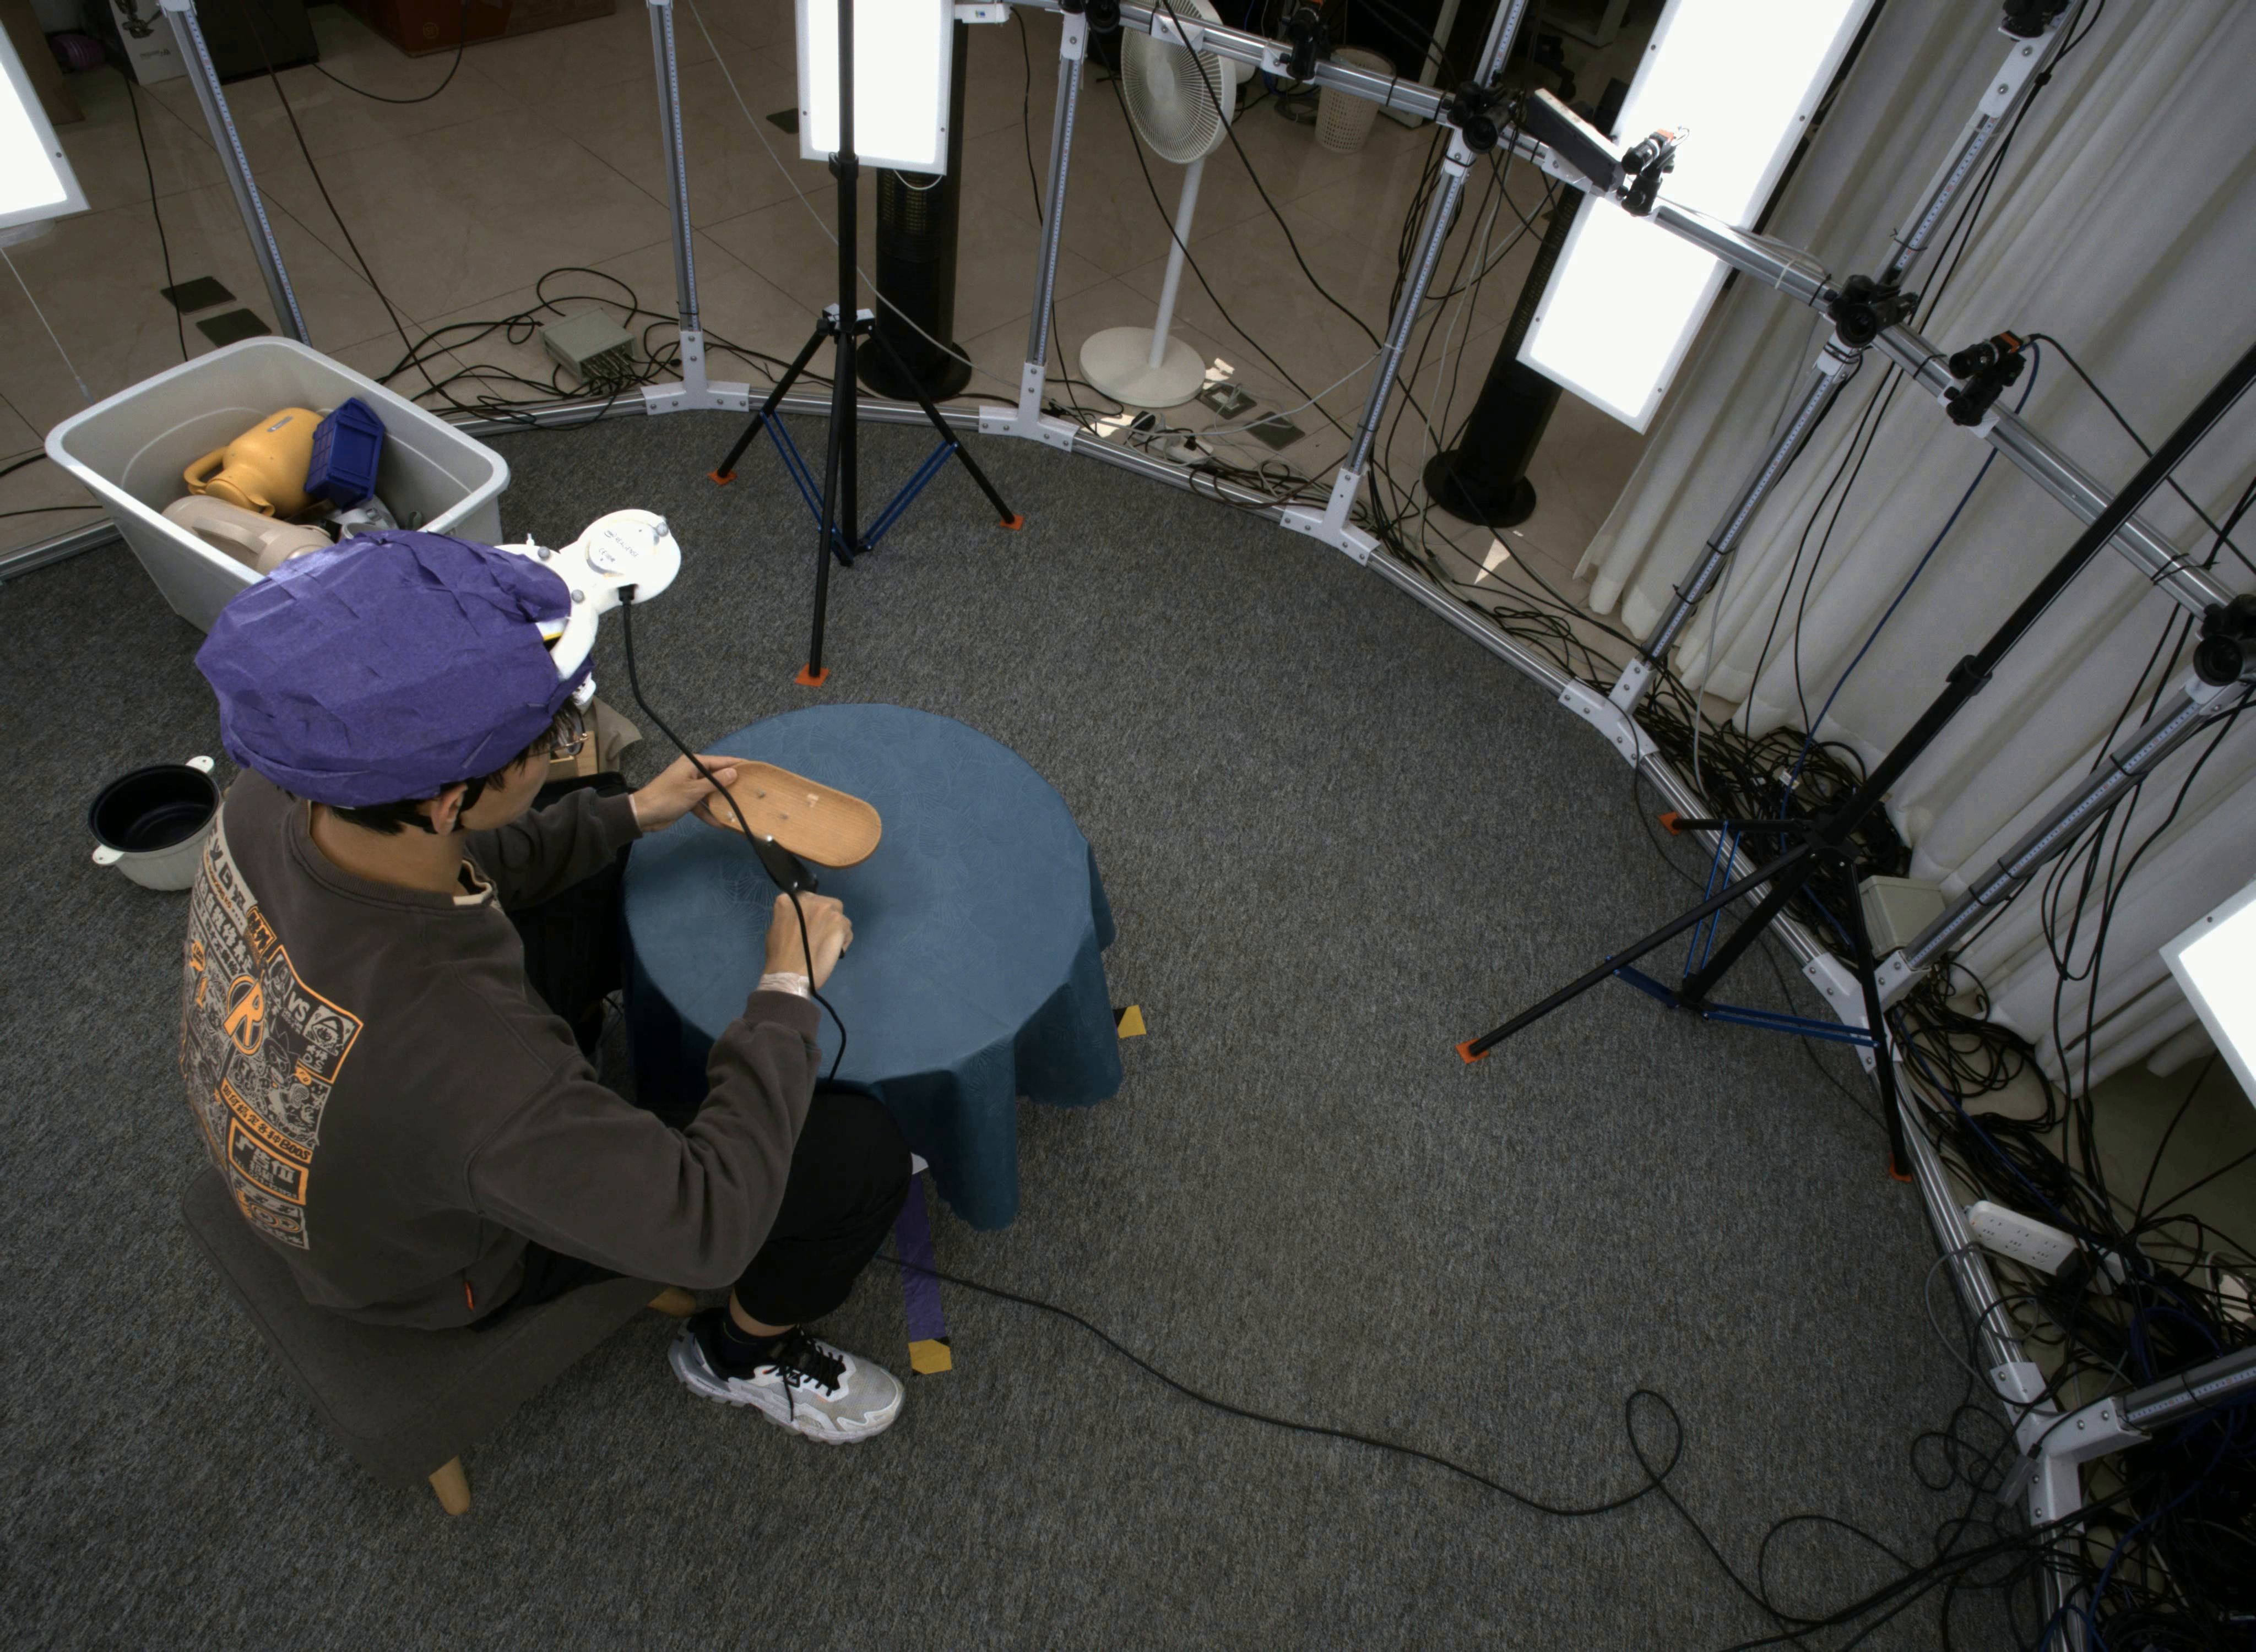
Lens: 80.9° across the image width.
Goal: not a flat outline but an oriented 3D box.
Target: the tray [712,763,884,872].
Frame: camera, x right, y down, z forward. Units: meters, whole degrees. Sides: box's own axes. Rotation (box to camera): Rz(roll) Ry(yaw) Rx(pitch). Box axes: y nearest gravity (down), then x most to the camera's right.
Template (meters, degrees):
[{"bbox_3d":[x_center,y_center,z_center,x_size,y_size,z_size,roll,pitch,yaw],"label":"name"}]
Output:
[{"bbox_3d":[-0.414,-0.012,1.623,0.227,0.021,0.101,22,62,6],"label":"tray"}]

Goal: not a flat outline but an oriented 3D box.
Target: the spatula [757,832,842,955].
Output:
[{"bbox_3d":[-0.360,0.081,1.459,0.040,0.103,0.315,-50,30,-9],"label":"spatula"}]
